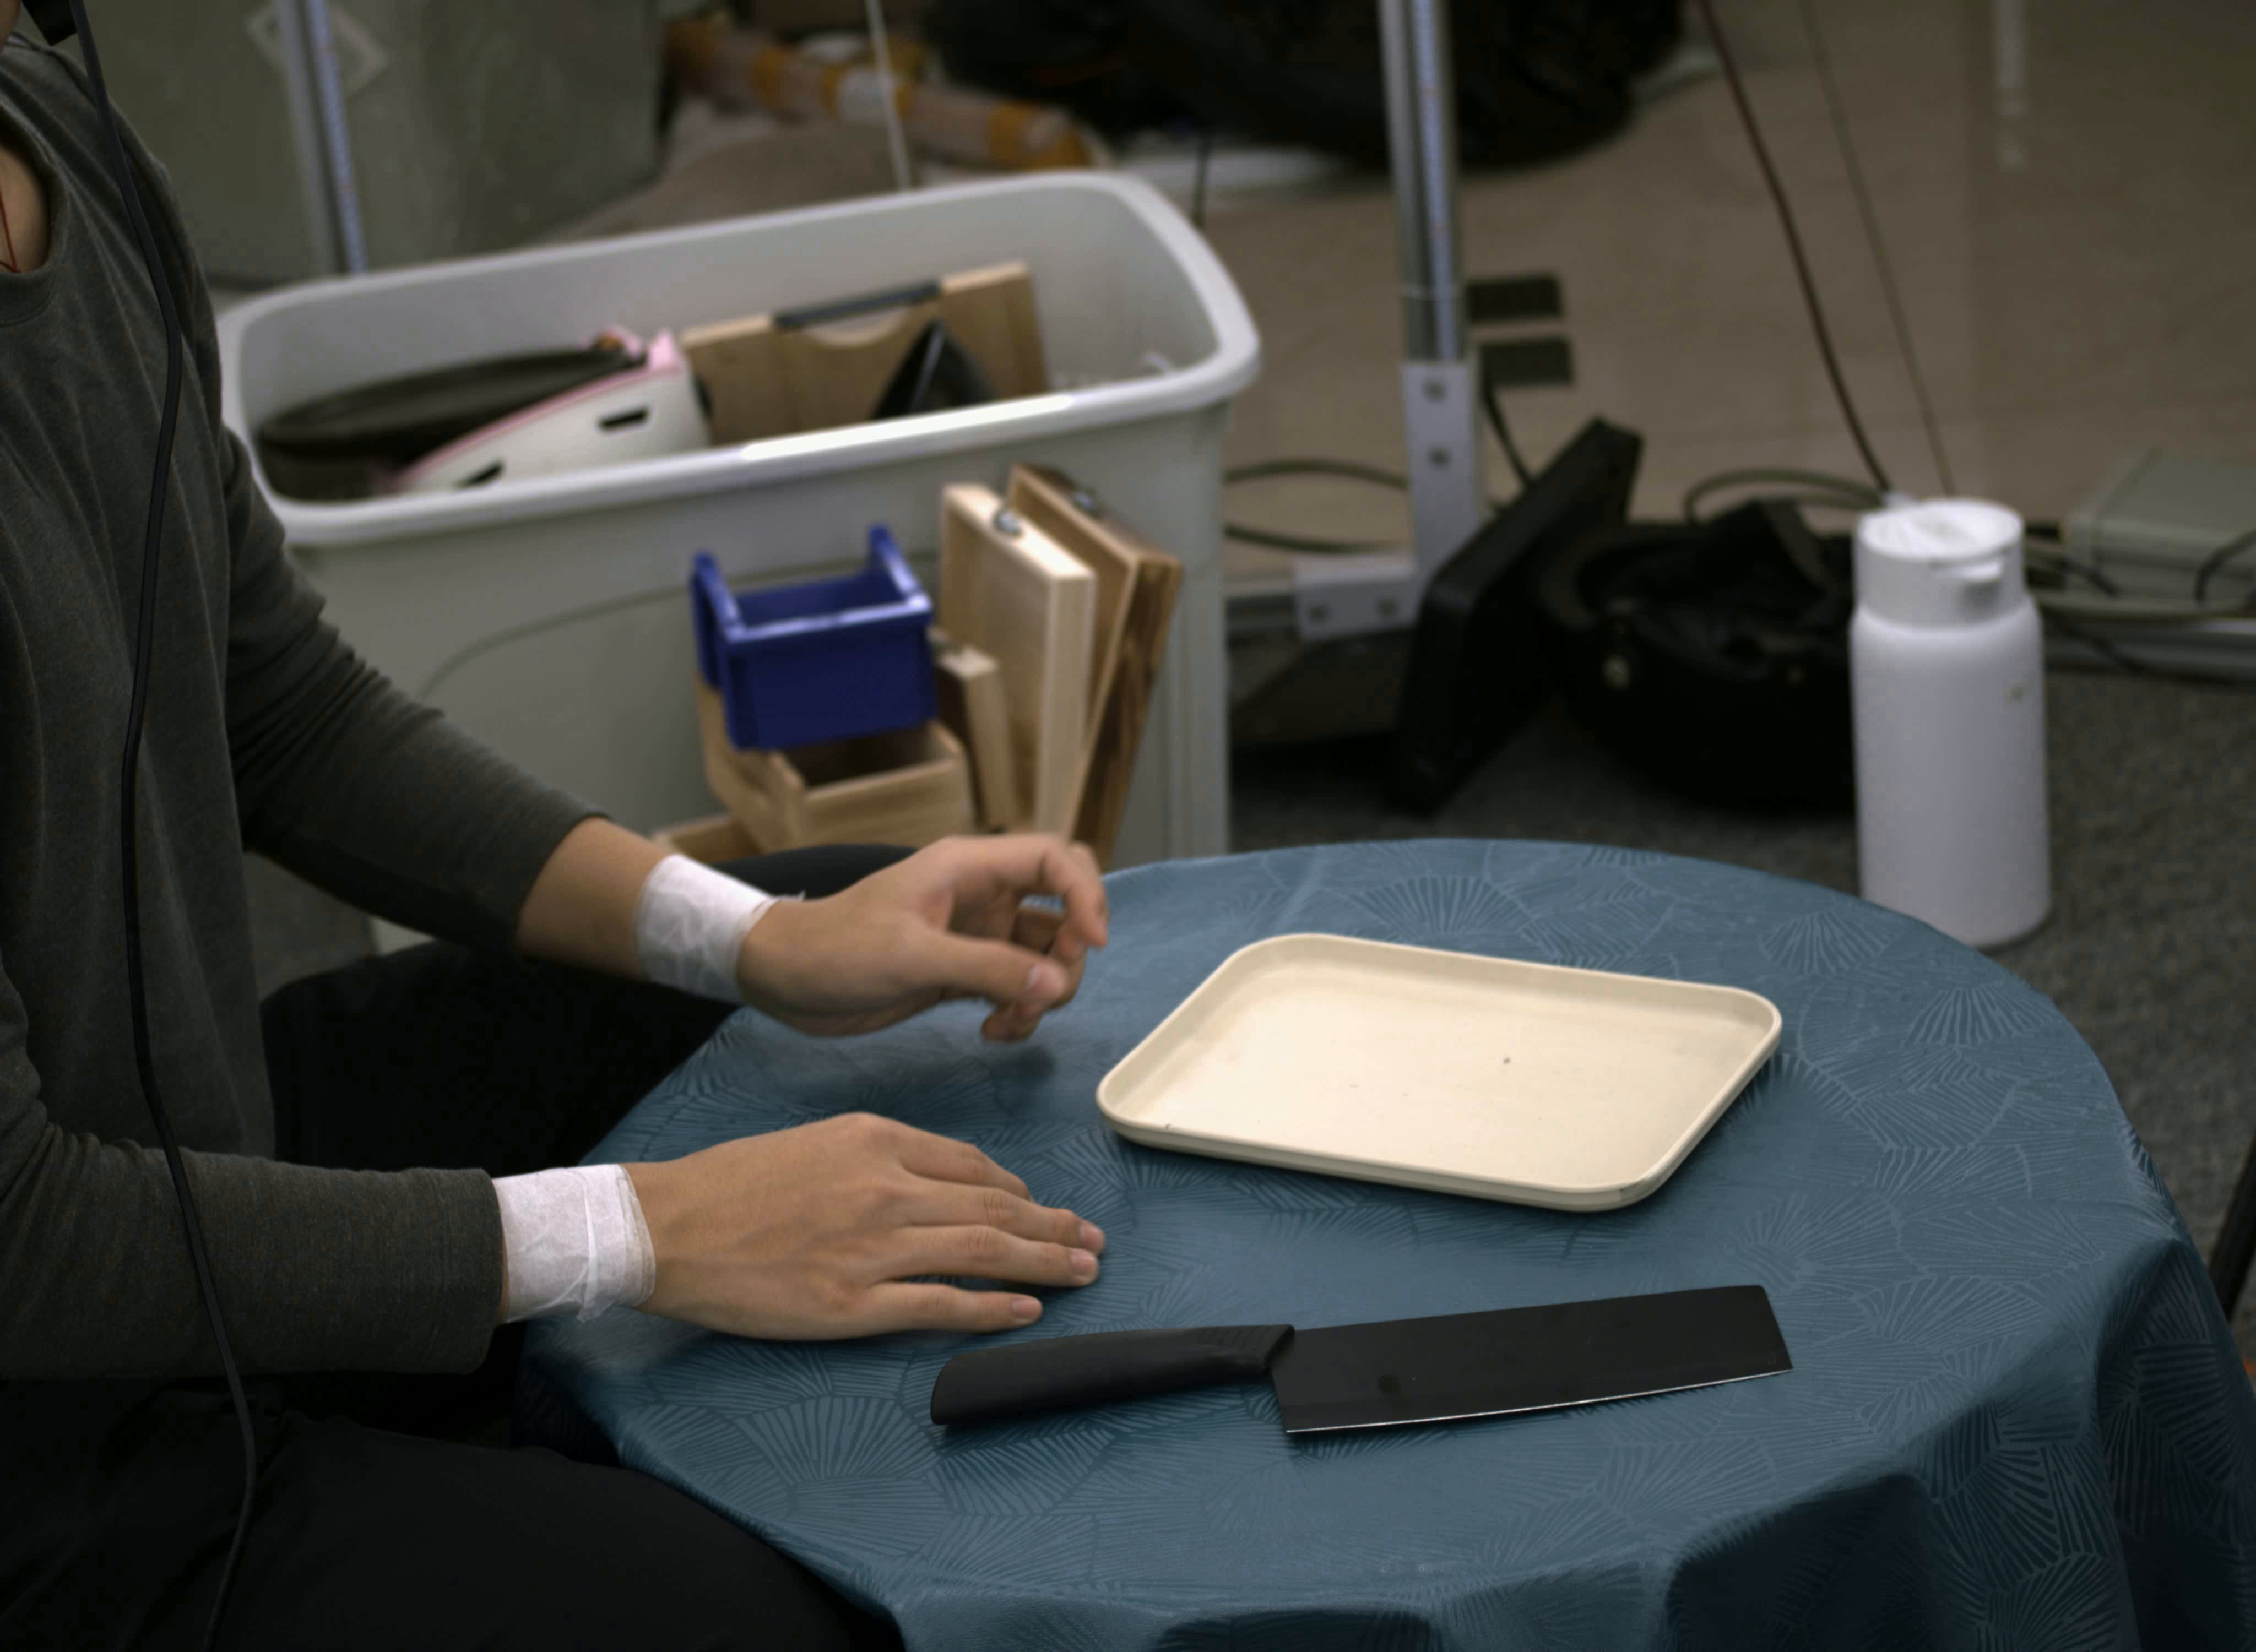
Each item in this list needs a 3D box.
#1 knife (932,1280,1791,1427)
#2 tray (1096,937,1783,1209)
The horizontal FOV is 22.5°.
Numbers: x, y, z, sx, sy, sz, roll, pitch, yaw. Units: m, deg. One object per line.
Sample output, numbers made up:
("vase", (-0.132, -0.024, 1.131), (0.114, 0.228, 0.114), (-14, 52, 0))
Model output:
("knife", (0.081, 0.191, 2.004), (0.302, 0.021, 0.079), (-4, 26, 1))
("tray", (0.121, 0.095, 2.194), (0.239, 0.018, 0.169), (7, 27, 28))
